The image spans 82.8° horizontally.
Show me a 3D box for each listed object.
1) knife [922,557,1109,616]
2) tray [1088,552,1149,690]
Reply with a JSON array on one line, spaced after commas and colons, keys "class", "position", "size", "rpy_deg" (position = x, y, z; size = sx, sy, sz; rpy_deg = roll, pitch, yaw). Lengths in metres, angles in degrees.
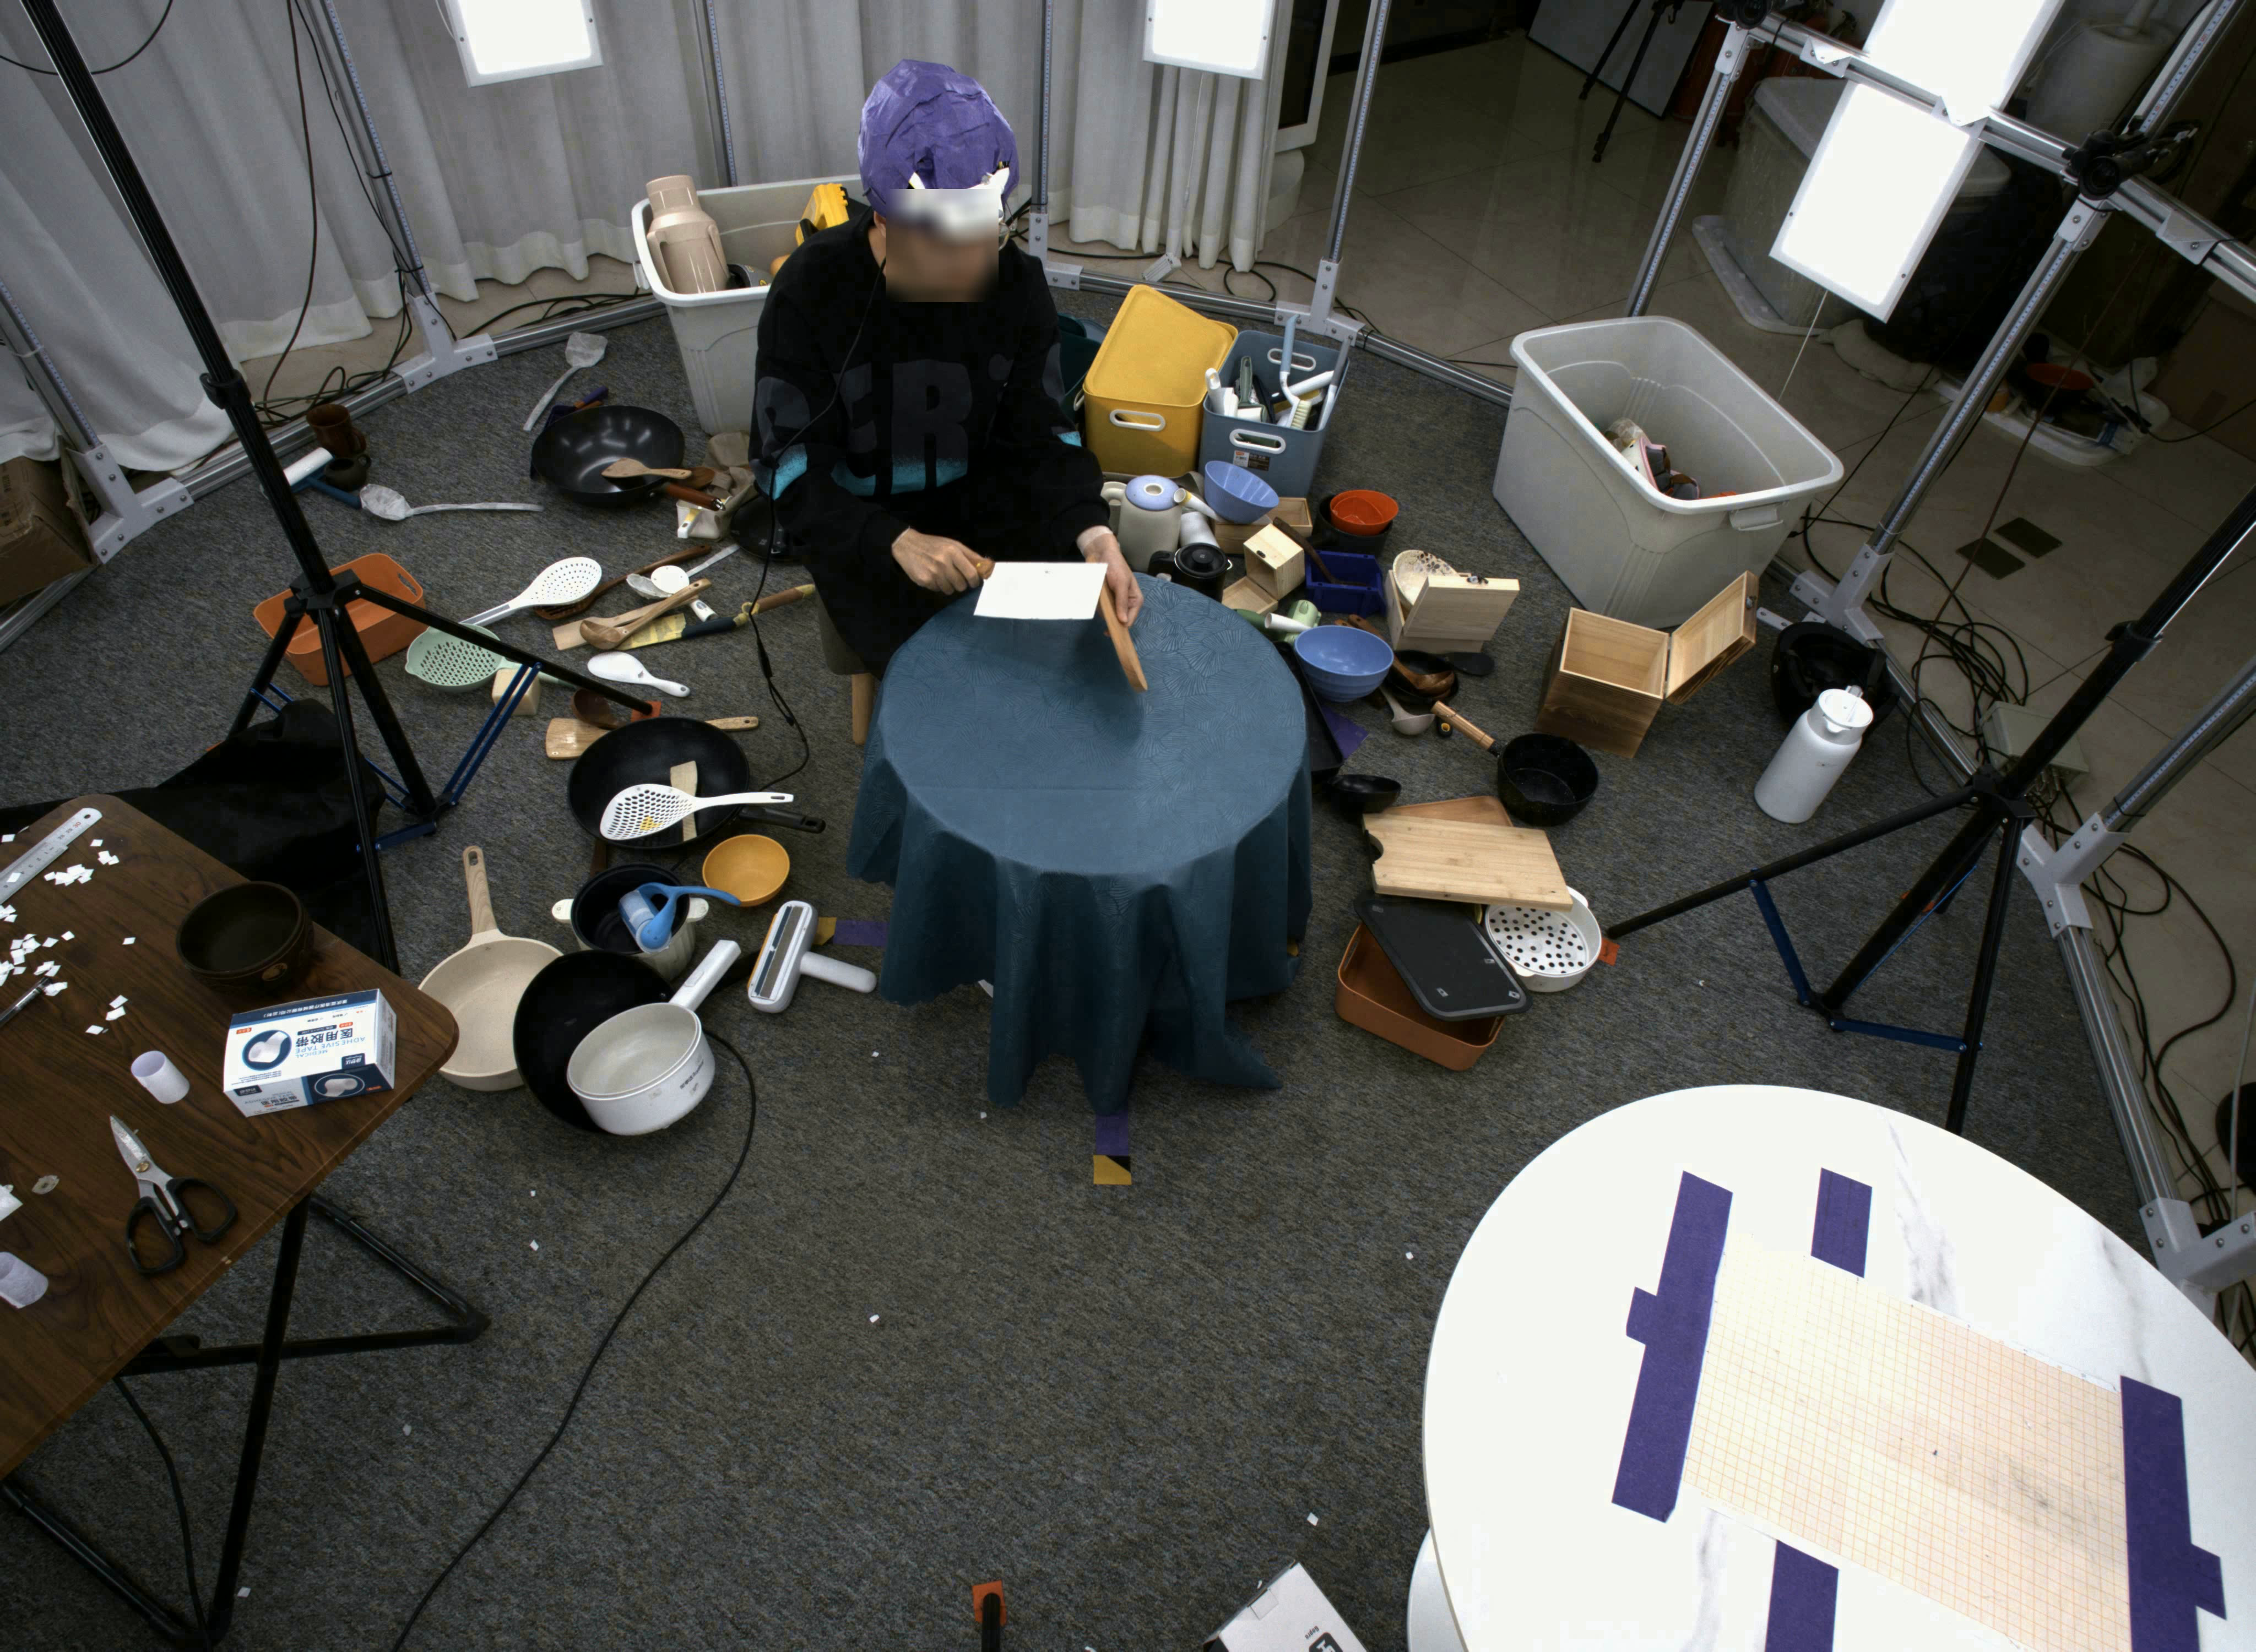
[{"class": "knife", "position": [-0.170, -0.342, 1.844], "size": [0.307, 0.020, 0.094], "rpy_deg": [6, 69, 25]}, {"class": "tray", "position": [-0.014, -0.289, 1.812], "size": [0.020, 0.099, 0.236], "rpy_deg": [-24, 58, 7]}]
